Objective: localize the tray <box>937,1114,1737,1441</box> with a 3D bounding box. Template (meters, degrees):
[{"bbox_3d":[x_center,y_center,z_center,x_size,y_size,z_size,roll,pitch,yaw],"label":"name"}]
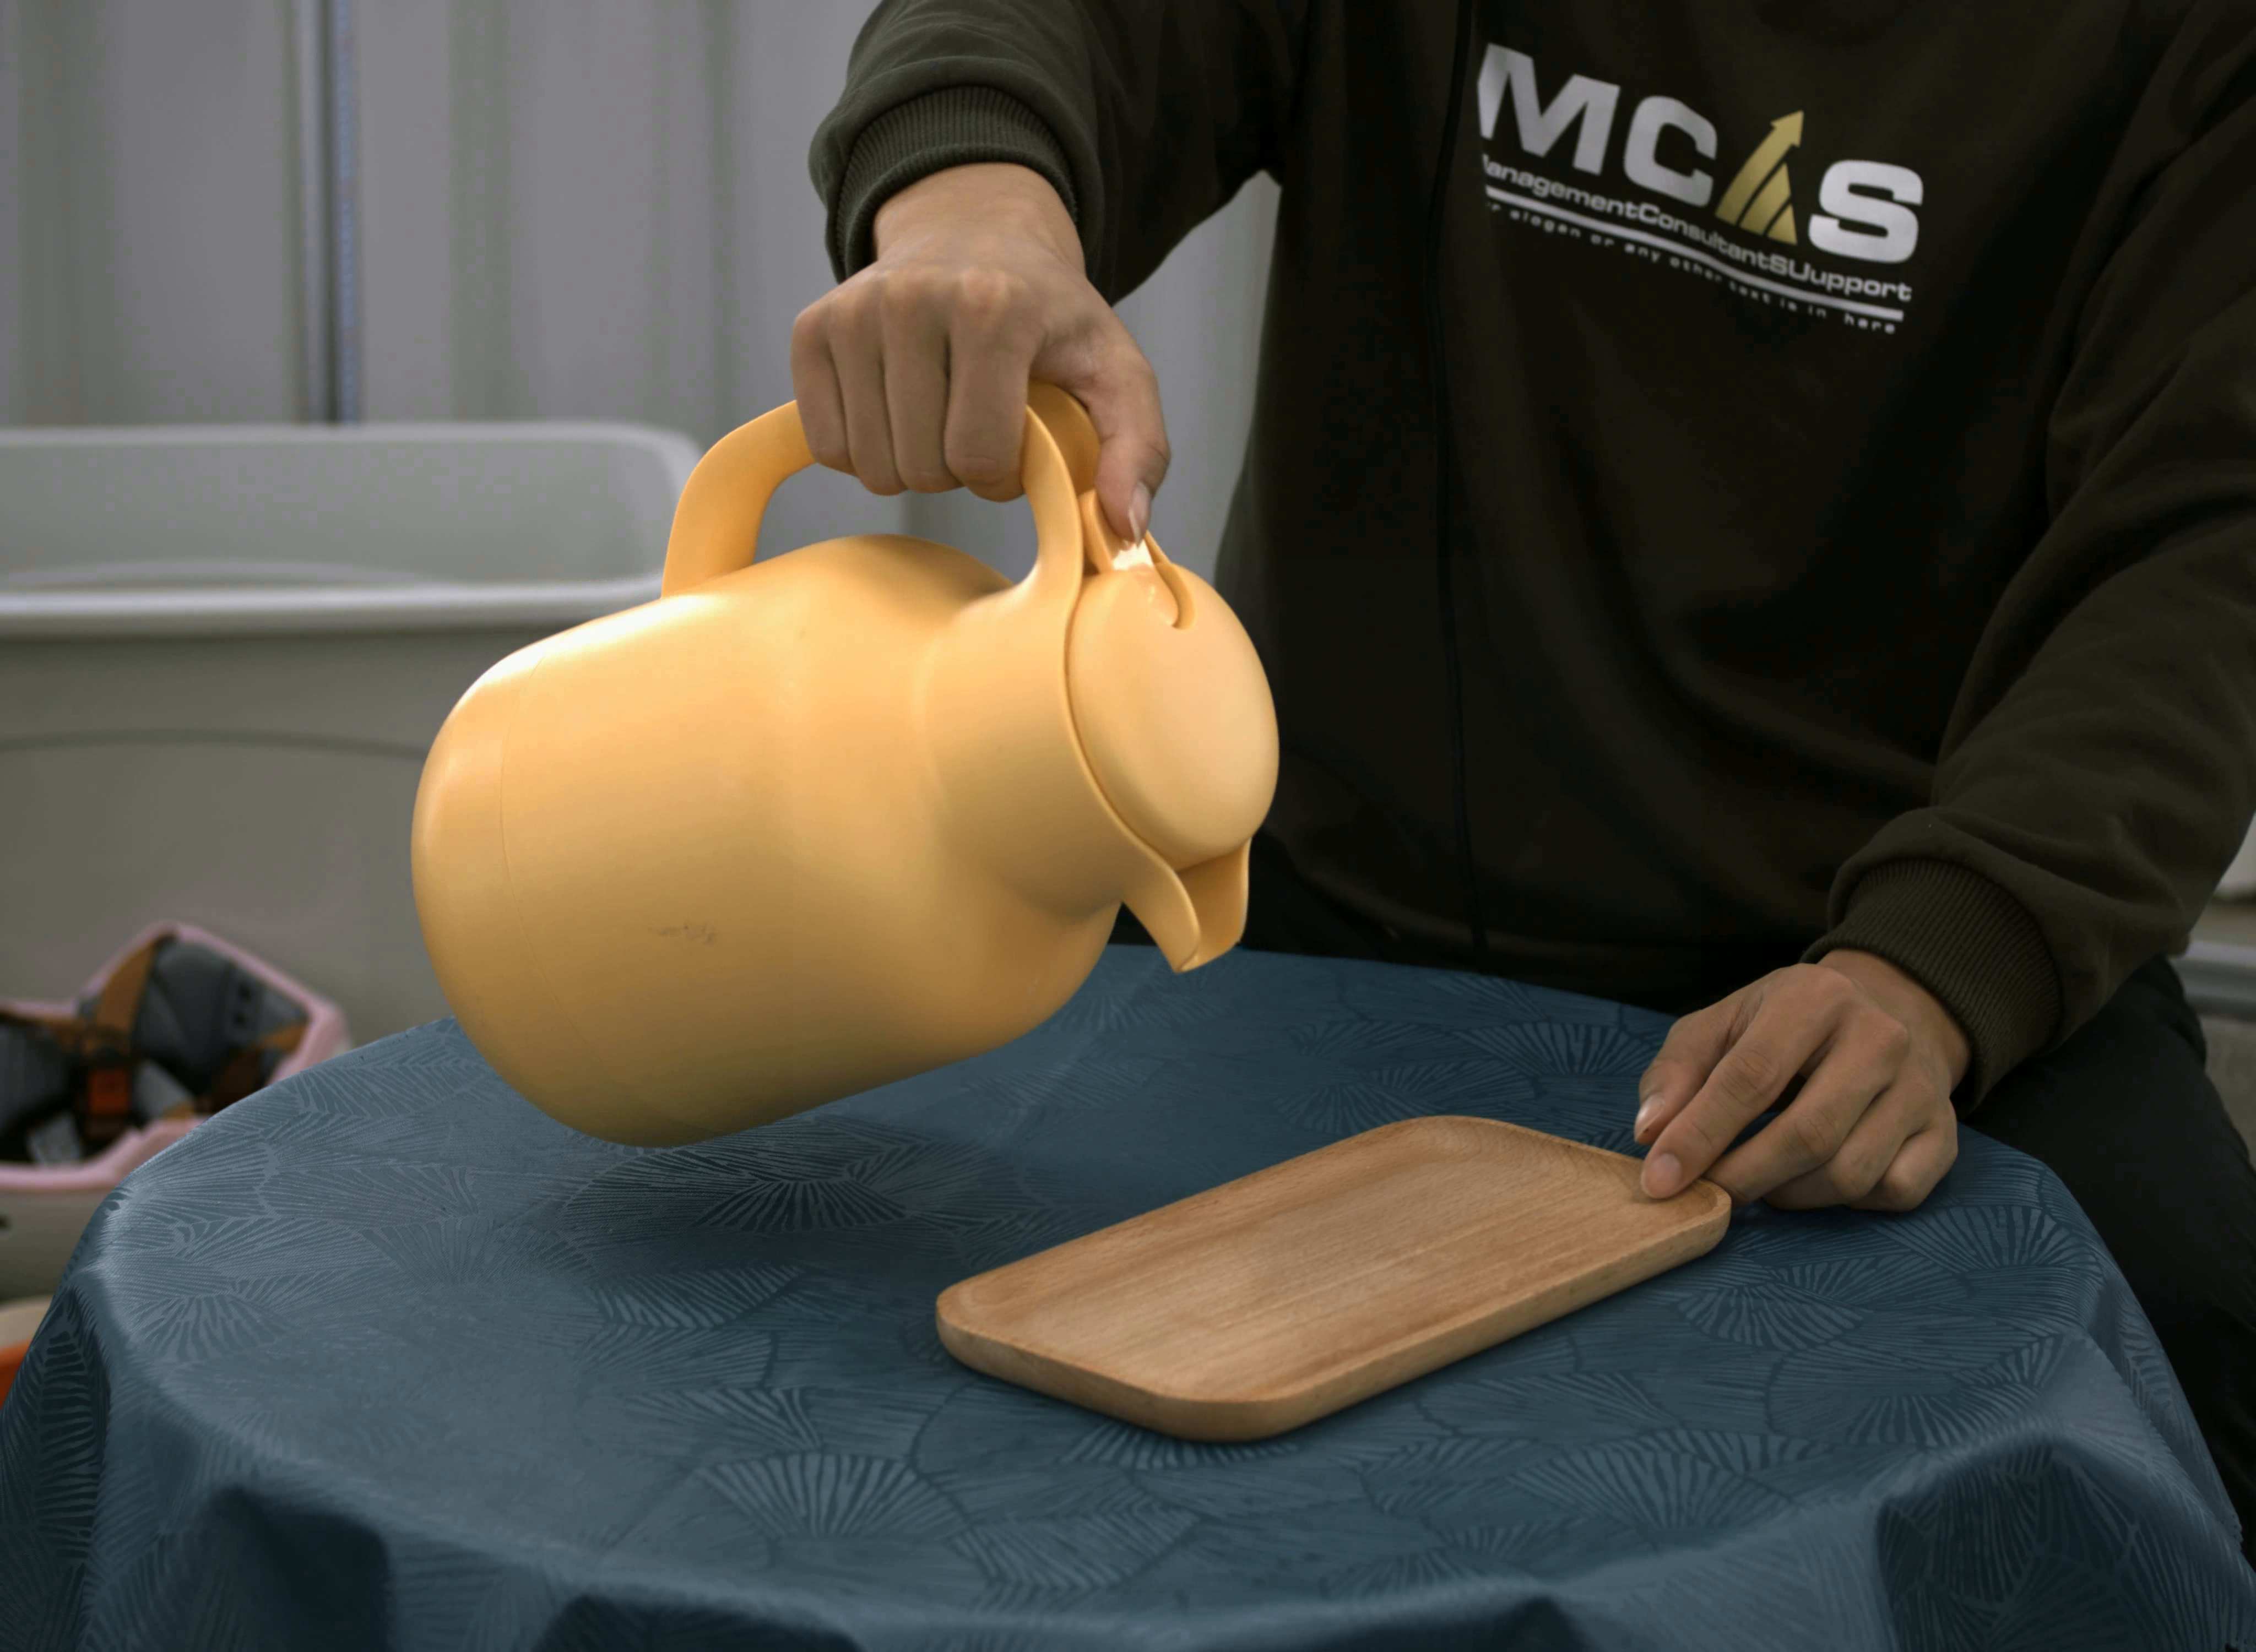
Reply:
[{"bbox_3d":[0.064,0.130,1.542,0.129,0.023,0.252,17,21,39],"label":"tray"}]

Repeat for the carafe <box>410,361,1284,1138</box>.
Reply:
[{"bbox_3d":[-0.082,-0.024,1.571,0.258,0.203,0.164,-15,-3,32],"label":"carafe"}]
